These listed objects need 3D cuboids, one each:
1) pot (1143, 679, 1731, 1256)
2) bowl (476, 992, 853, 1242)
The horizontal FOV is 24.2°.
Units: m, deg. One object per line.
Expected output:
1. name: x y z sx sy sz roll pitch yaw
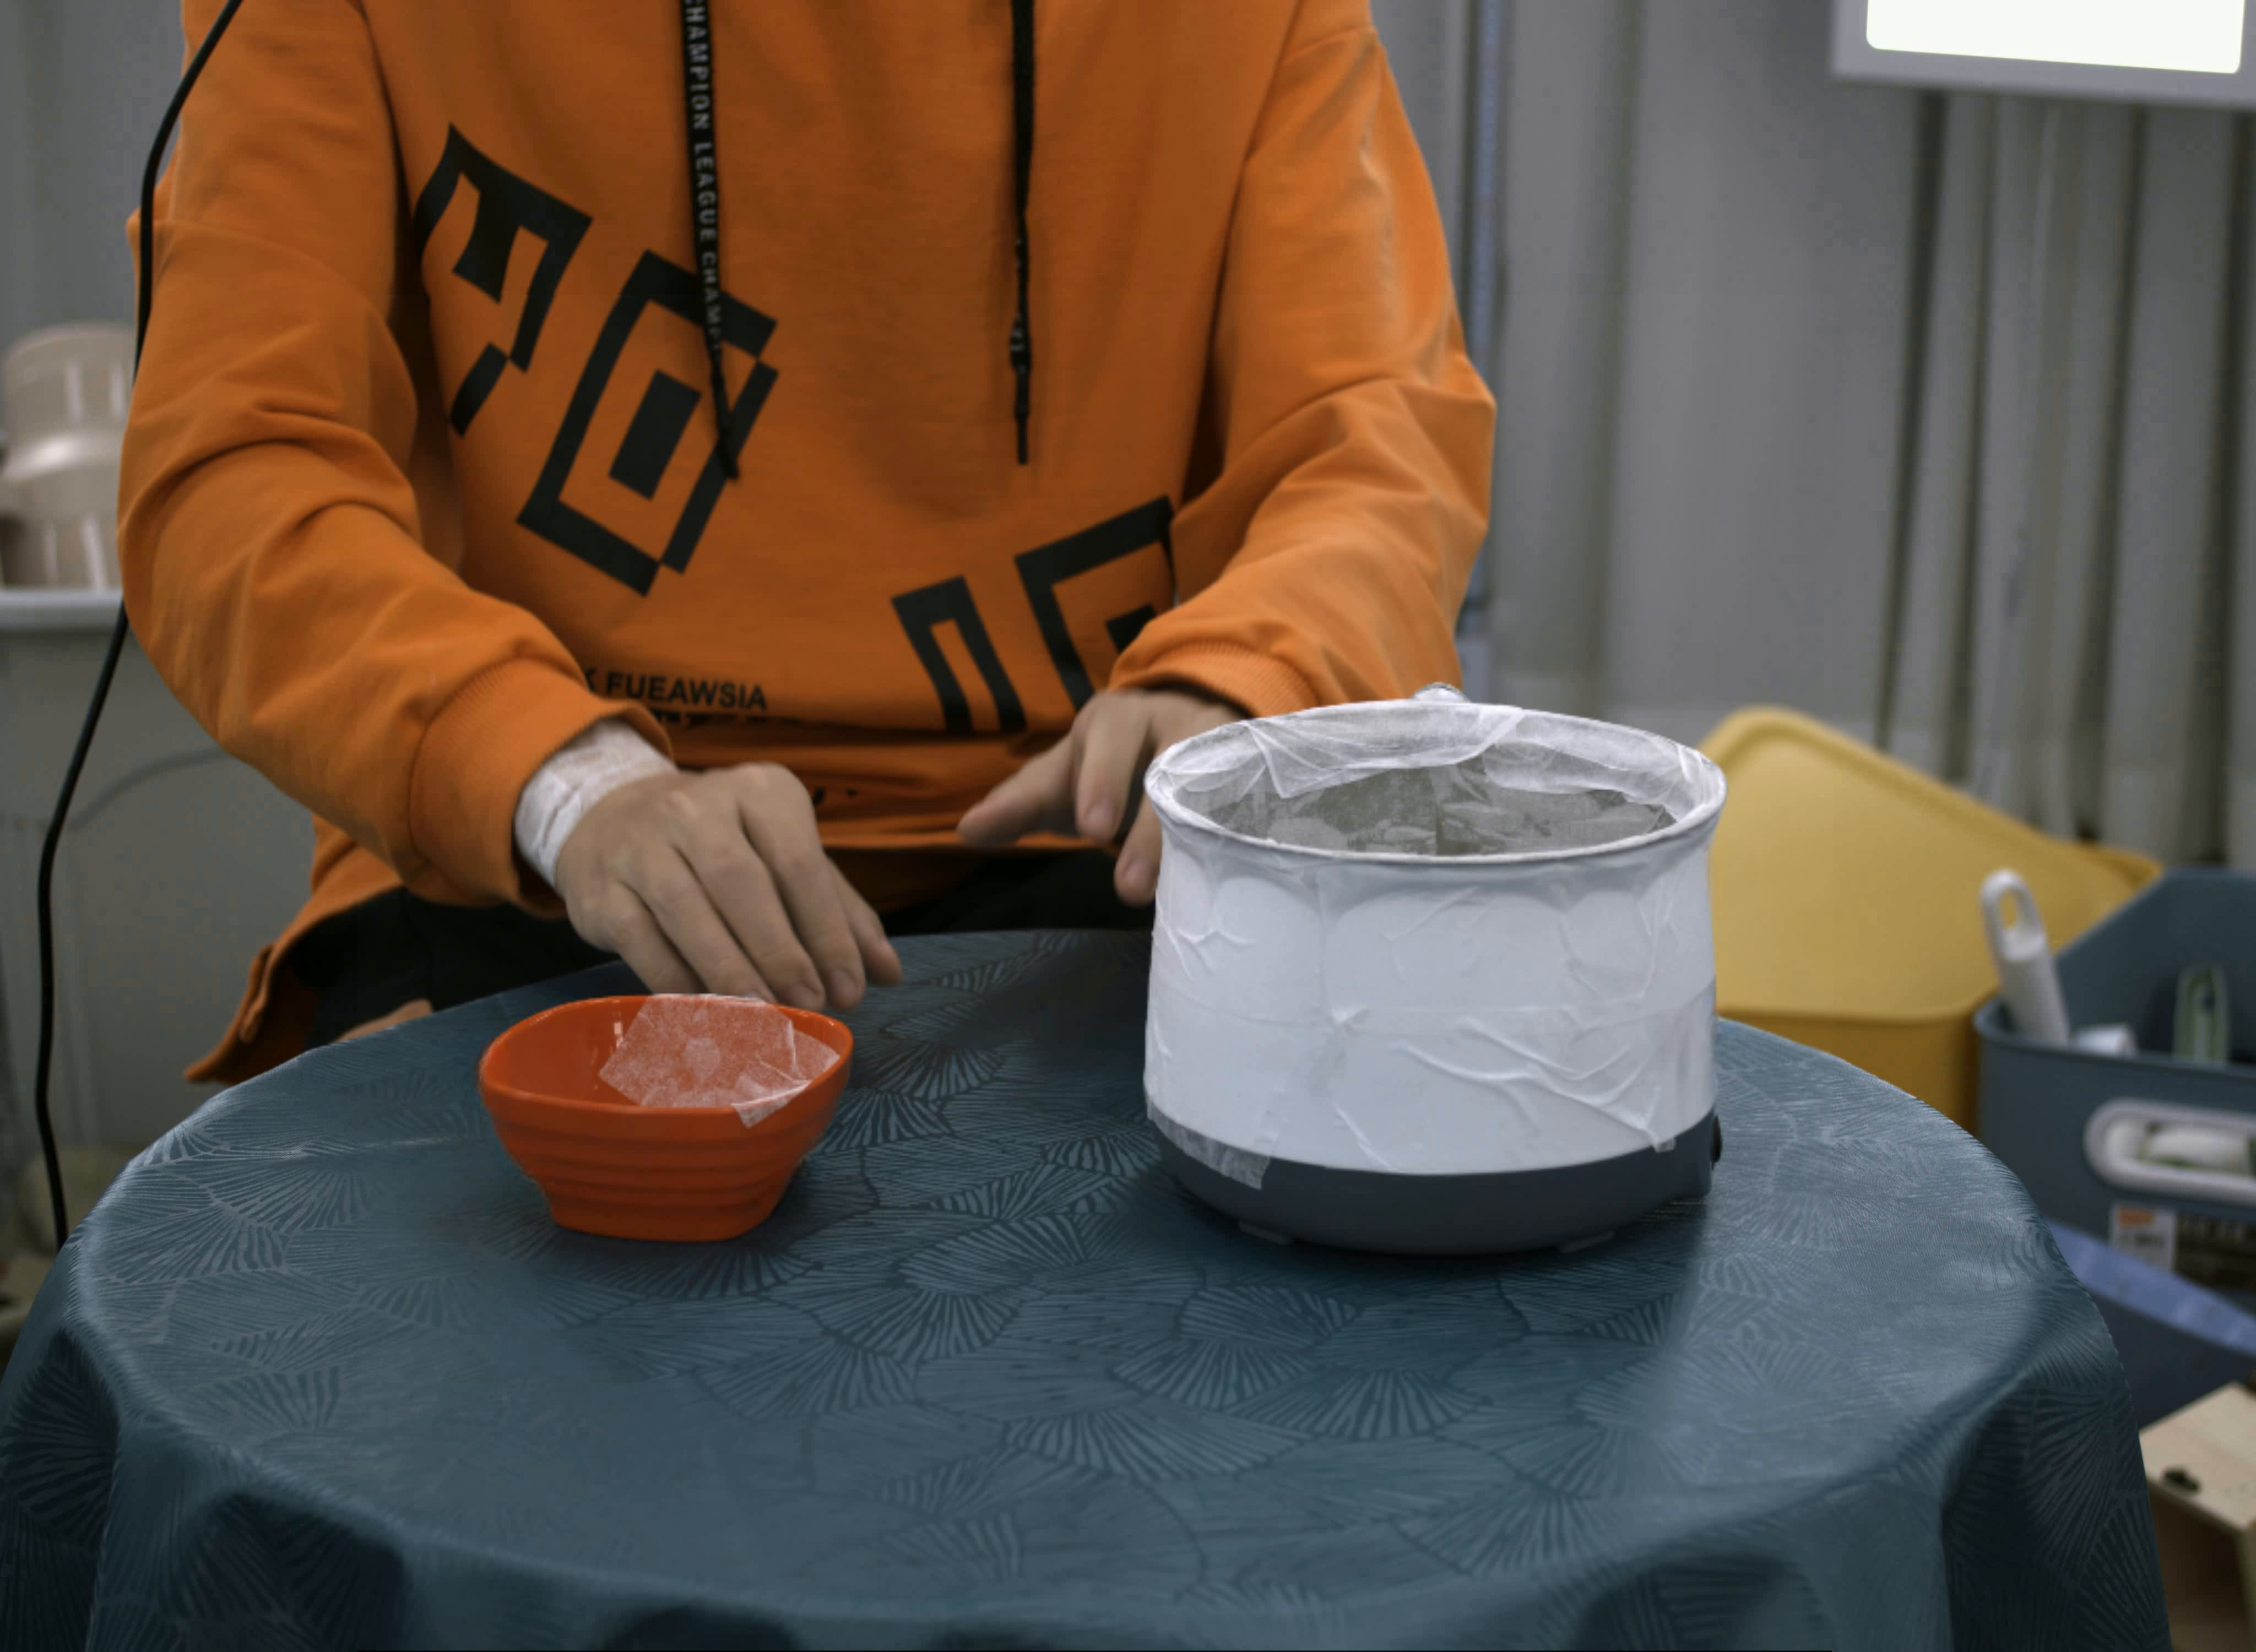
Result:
1. pot: 0.094 0.038 1.633 0.178 0.138 0.232 1 16 2
2. bowl: -0.139 0.091 1.600 0.118 0.052 0.118 -1 16 1
